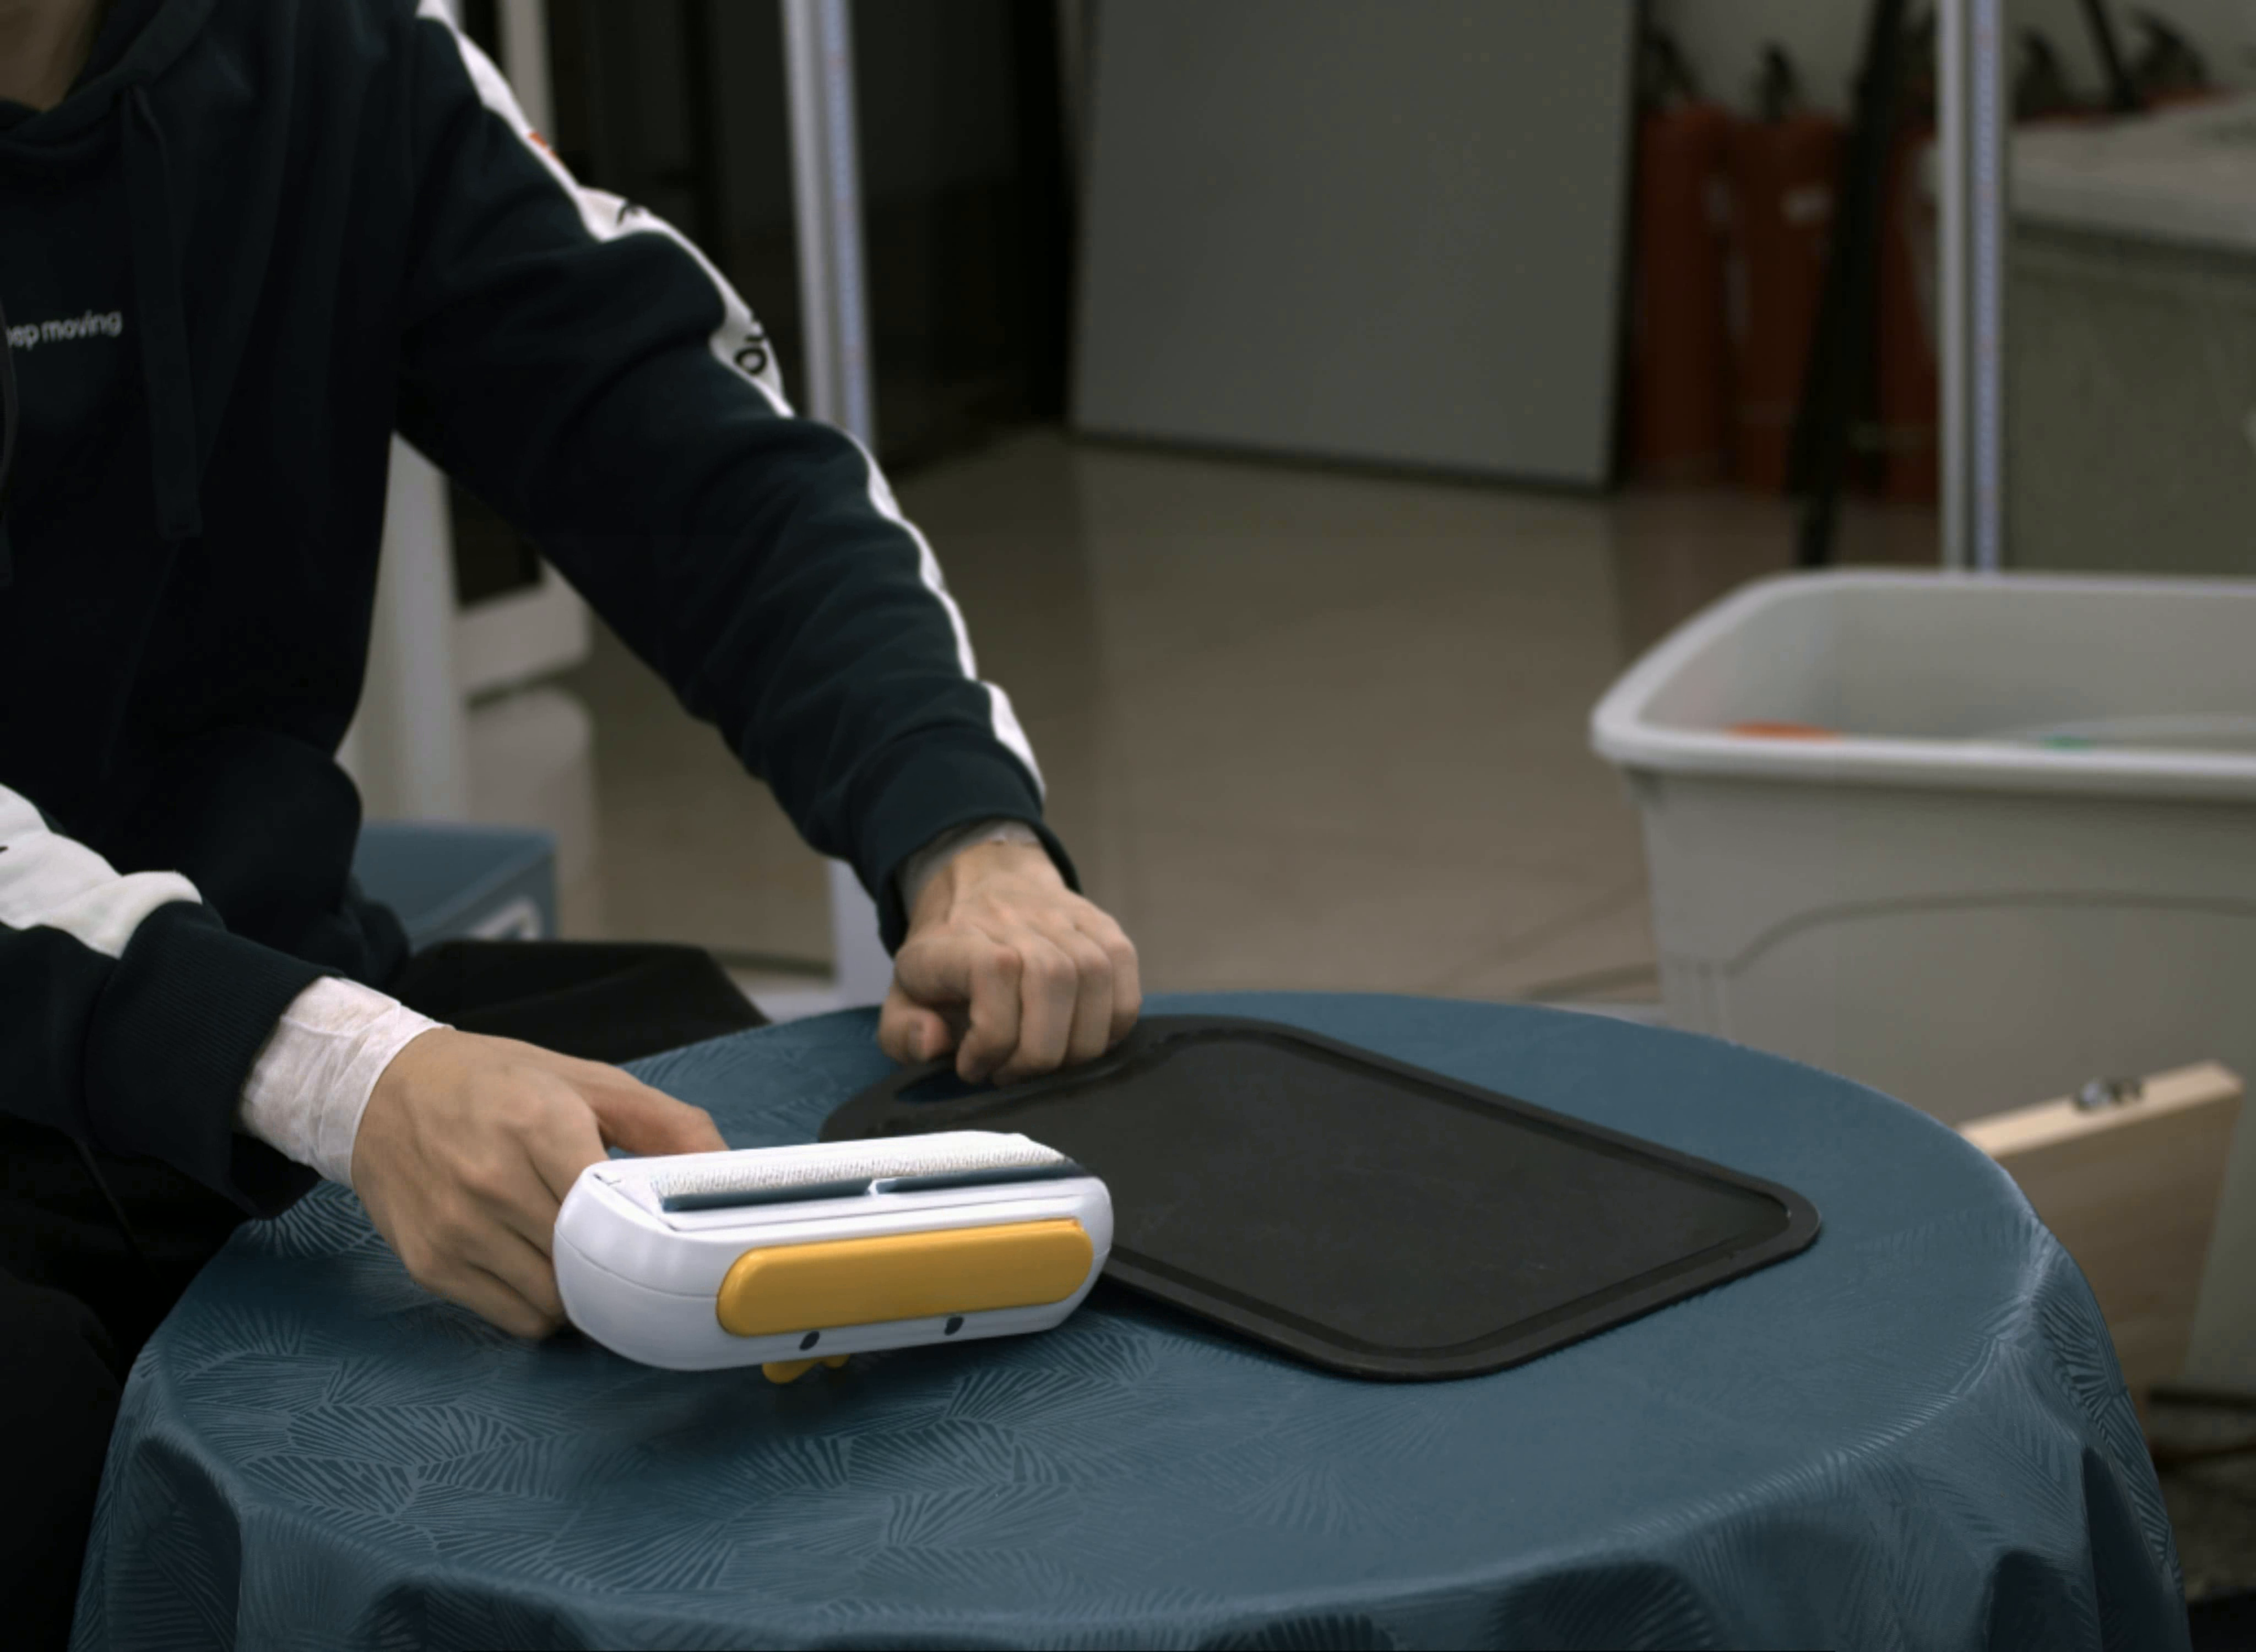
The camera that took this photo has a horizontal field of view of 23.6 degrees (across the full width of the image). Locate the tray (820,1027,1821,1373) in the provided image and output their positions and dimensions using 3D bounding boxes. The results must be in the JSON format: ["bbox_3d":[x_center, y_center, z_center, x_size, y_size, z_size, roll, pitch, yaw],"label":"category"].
[{"bbox_3d":[0.052,0.113,1.739,0.206,0.010,0.329,-15,21,-39],"label":"tray"}]

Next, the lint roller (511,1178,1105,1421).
[{"bbox_3d":[-0.126,0.141,1.652,0.188,0.075,0.194,-3,-1,-36],"label":"lint roller"}]
